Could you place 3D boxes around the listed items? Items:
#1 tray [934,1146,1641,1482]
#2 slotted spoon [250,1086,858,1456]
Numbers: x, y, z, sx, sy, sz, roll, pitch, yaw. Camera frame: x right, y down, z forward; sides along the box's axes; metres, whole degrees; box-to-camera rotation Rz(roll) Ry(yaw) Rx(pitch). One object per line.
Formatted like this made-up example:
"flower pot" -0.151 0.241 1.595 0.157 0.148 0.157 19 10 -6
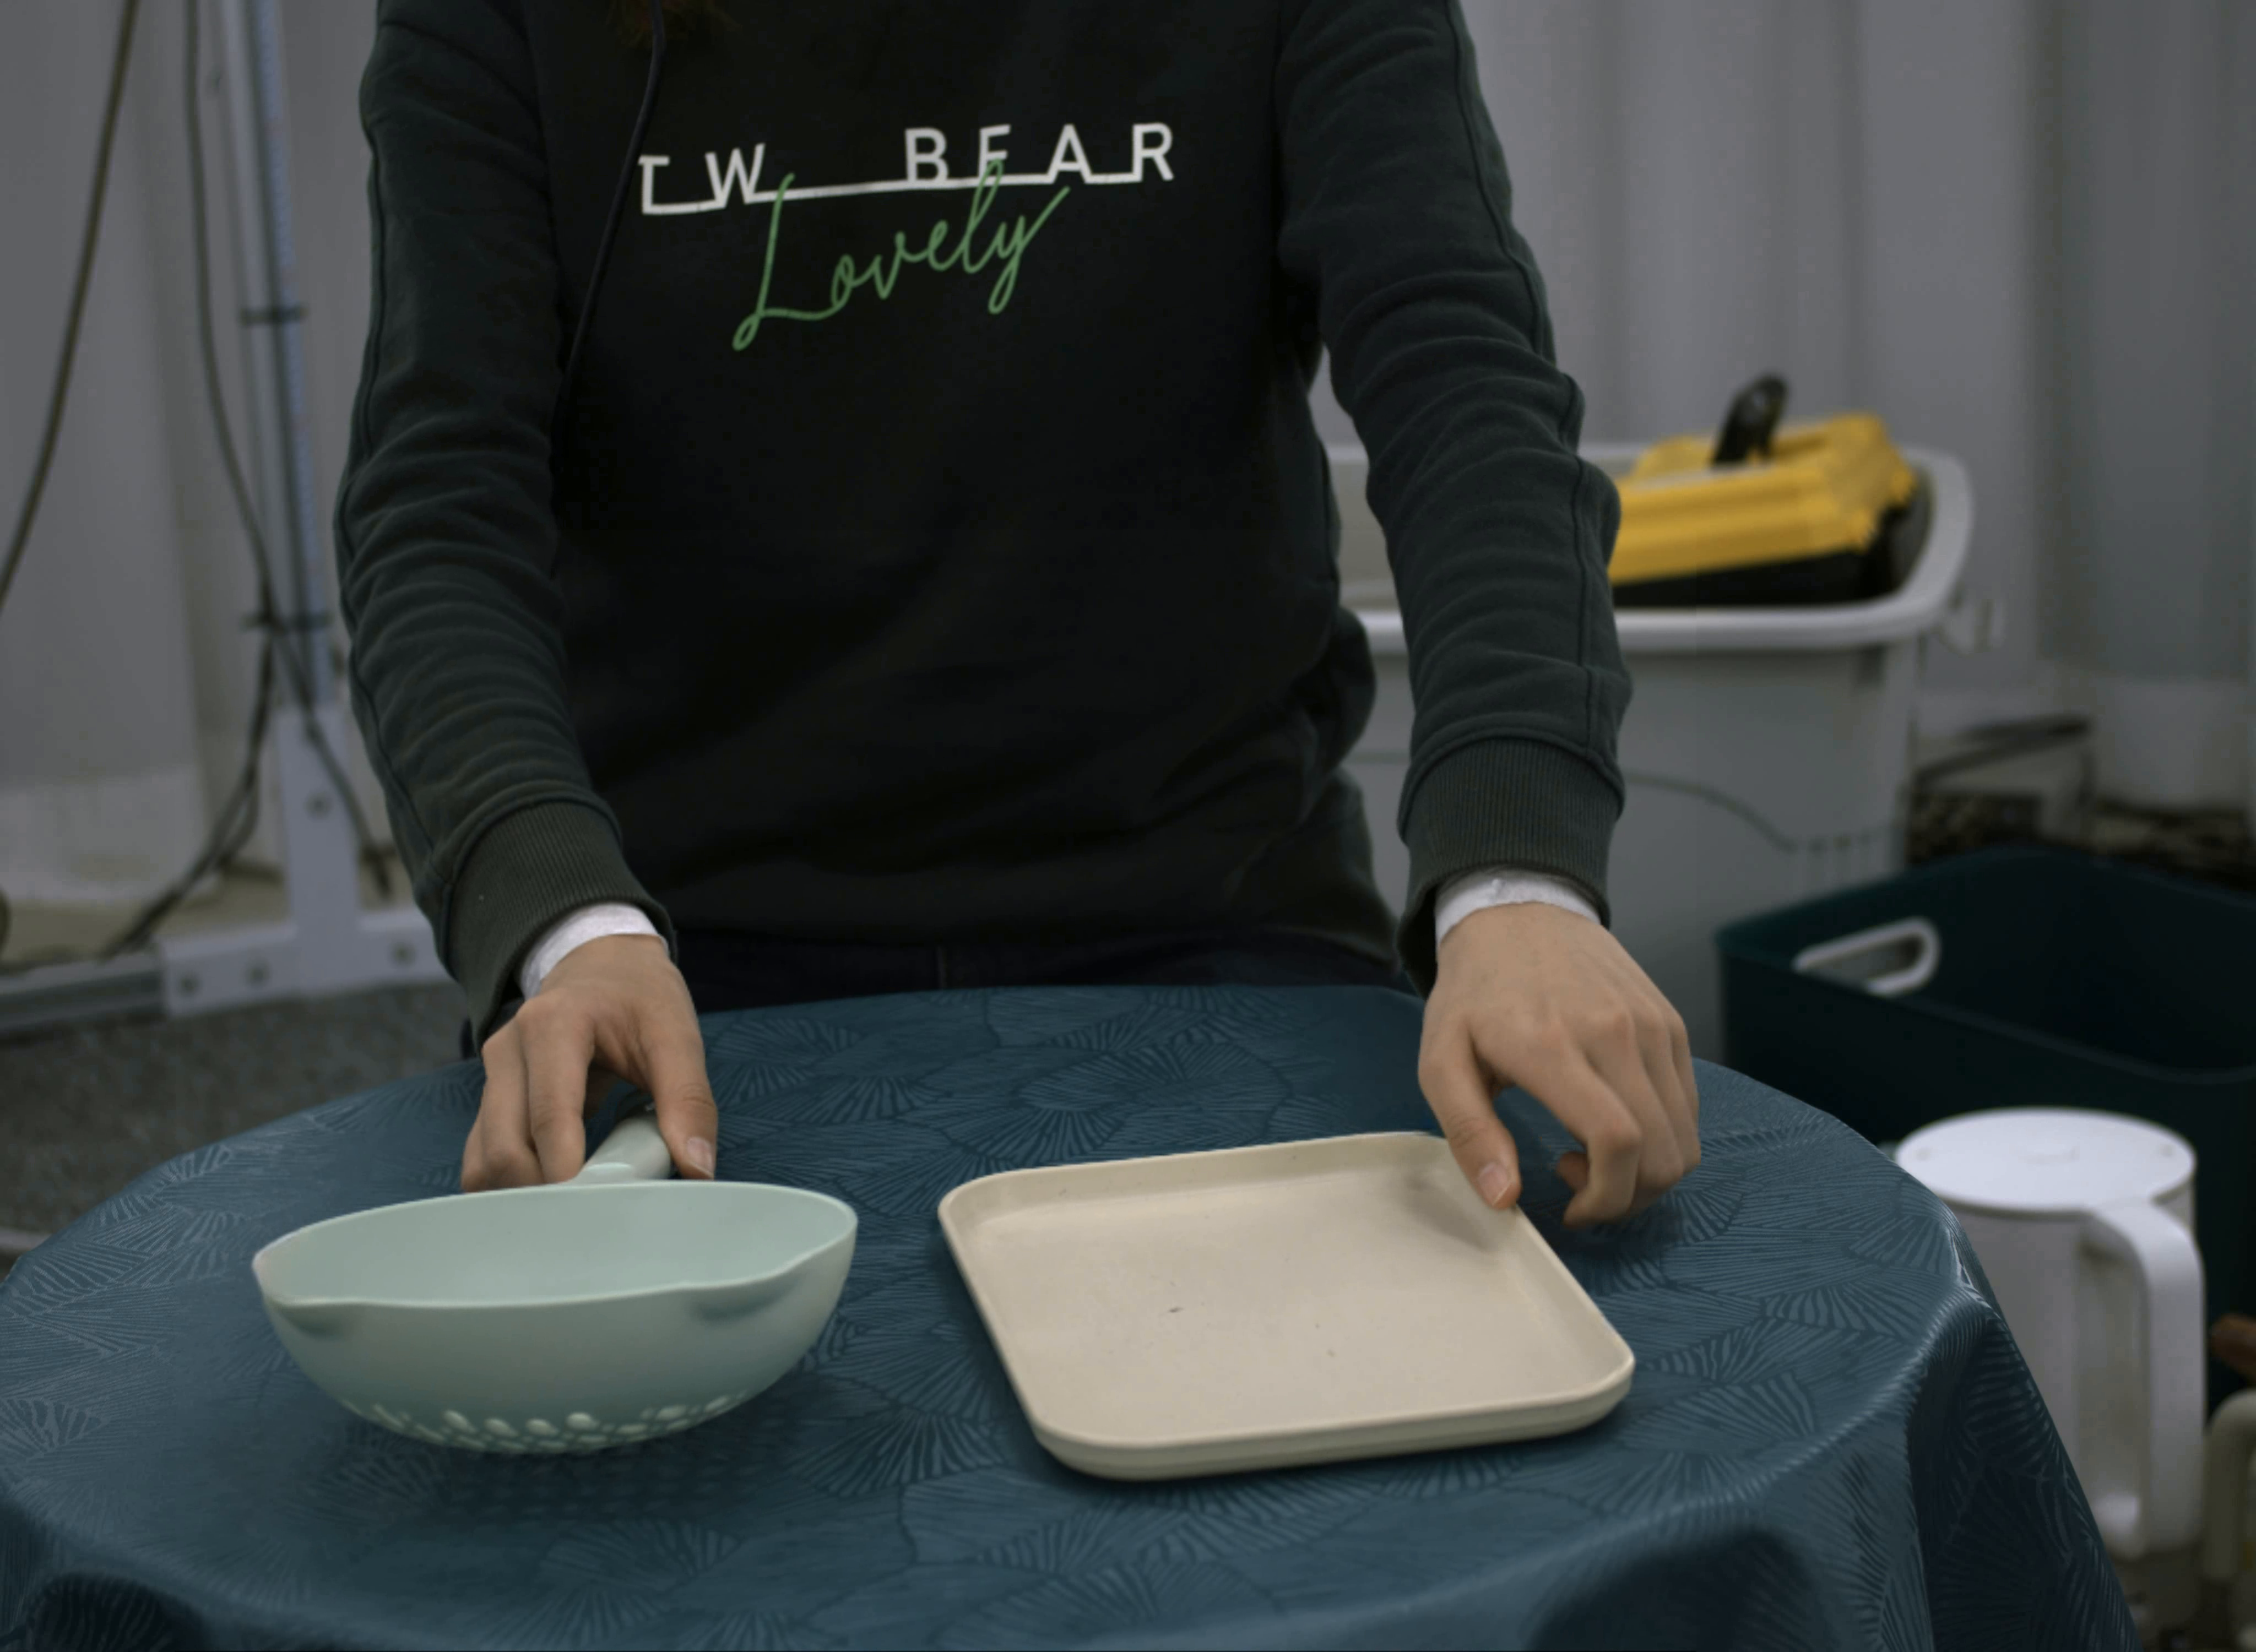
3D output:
"tray" 0.041 0.140 1.582 0.170 0.017 0.241 -5 14 -9
"slotted spoon" -0.153 0.115 1.617 0.169 0.075 0.361 -2 15 3
